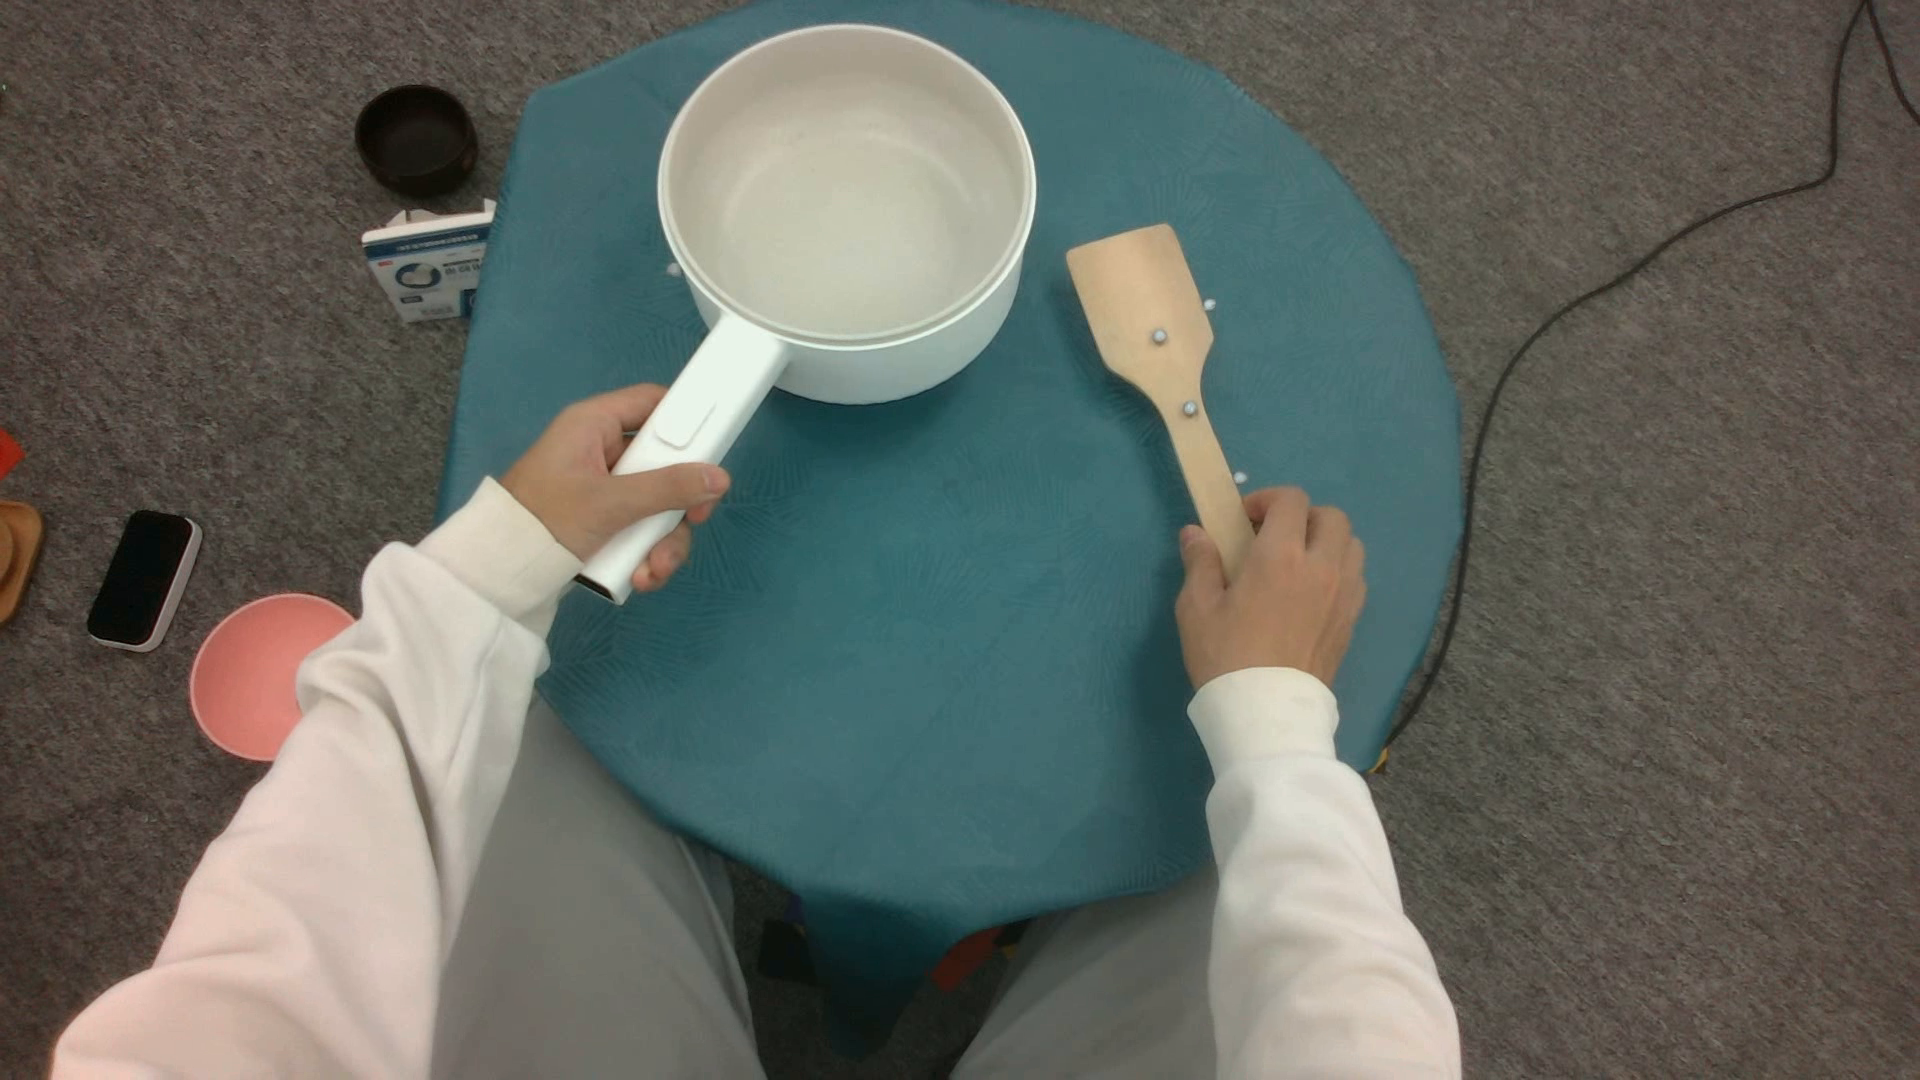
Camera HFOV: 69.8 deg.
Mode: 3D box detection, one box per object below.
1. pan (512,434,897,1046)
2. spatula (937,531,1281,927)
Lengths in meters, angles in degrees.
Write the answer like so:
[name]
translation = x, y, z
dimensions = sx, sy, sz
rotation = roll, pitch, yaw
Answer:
[pan]
translation = -0.153, 0.108, 0.780
dimensions = 0.201, 0.101, 0.356
rotation = 9, 58, 9
[spatula]
translation = 0.090, 0.107, 0.821
dimensions = 0.072, 0.010, 0.293
rotation = -31, 58, -13
